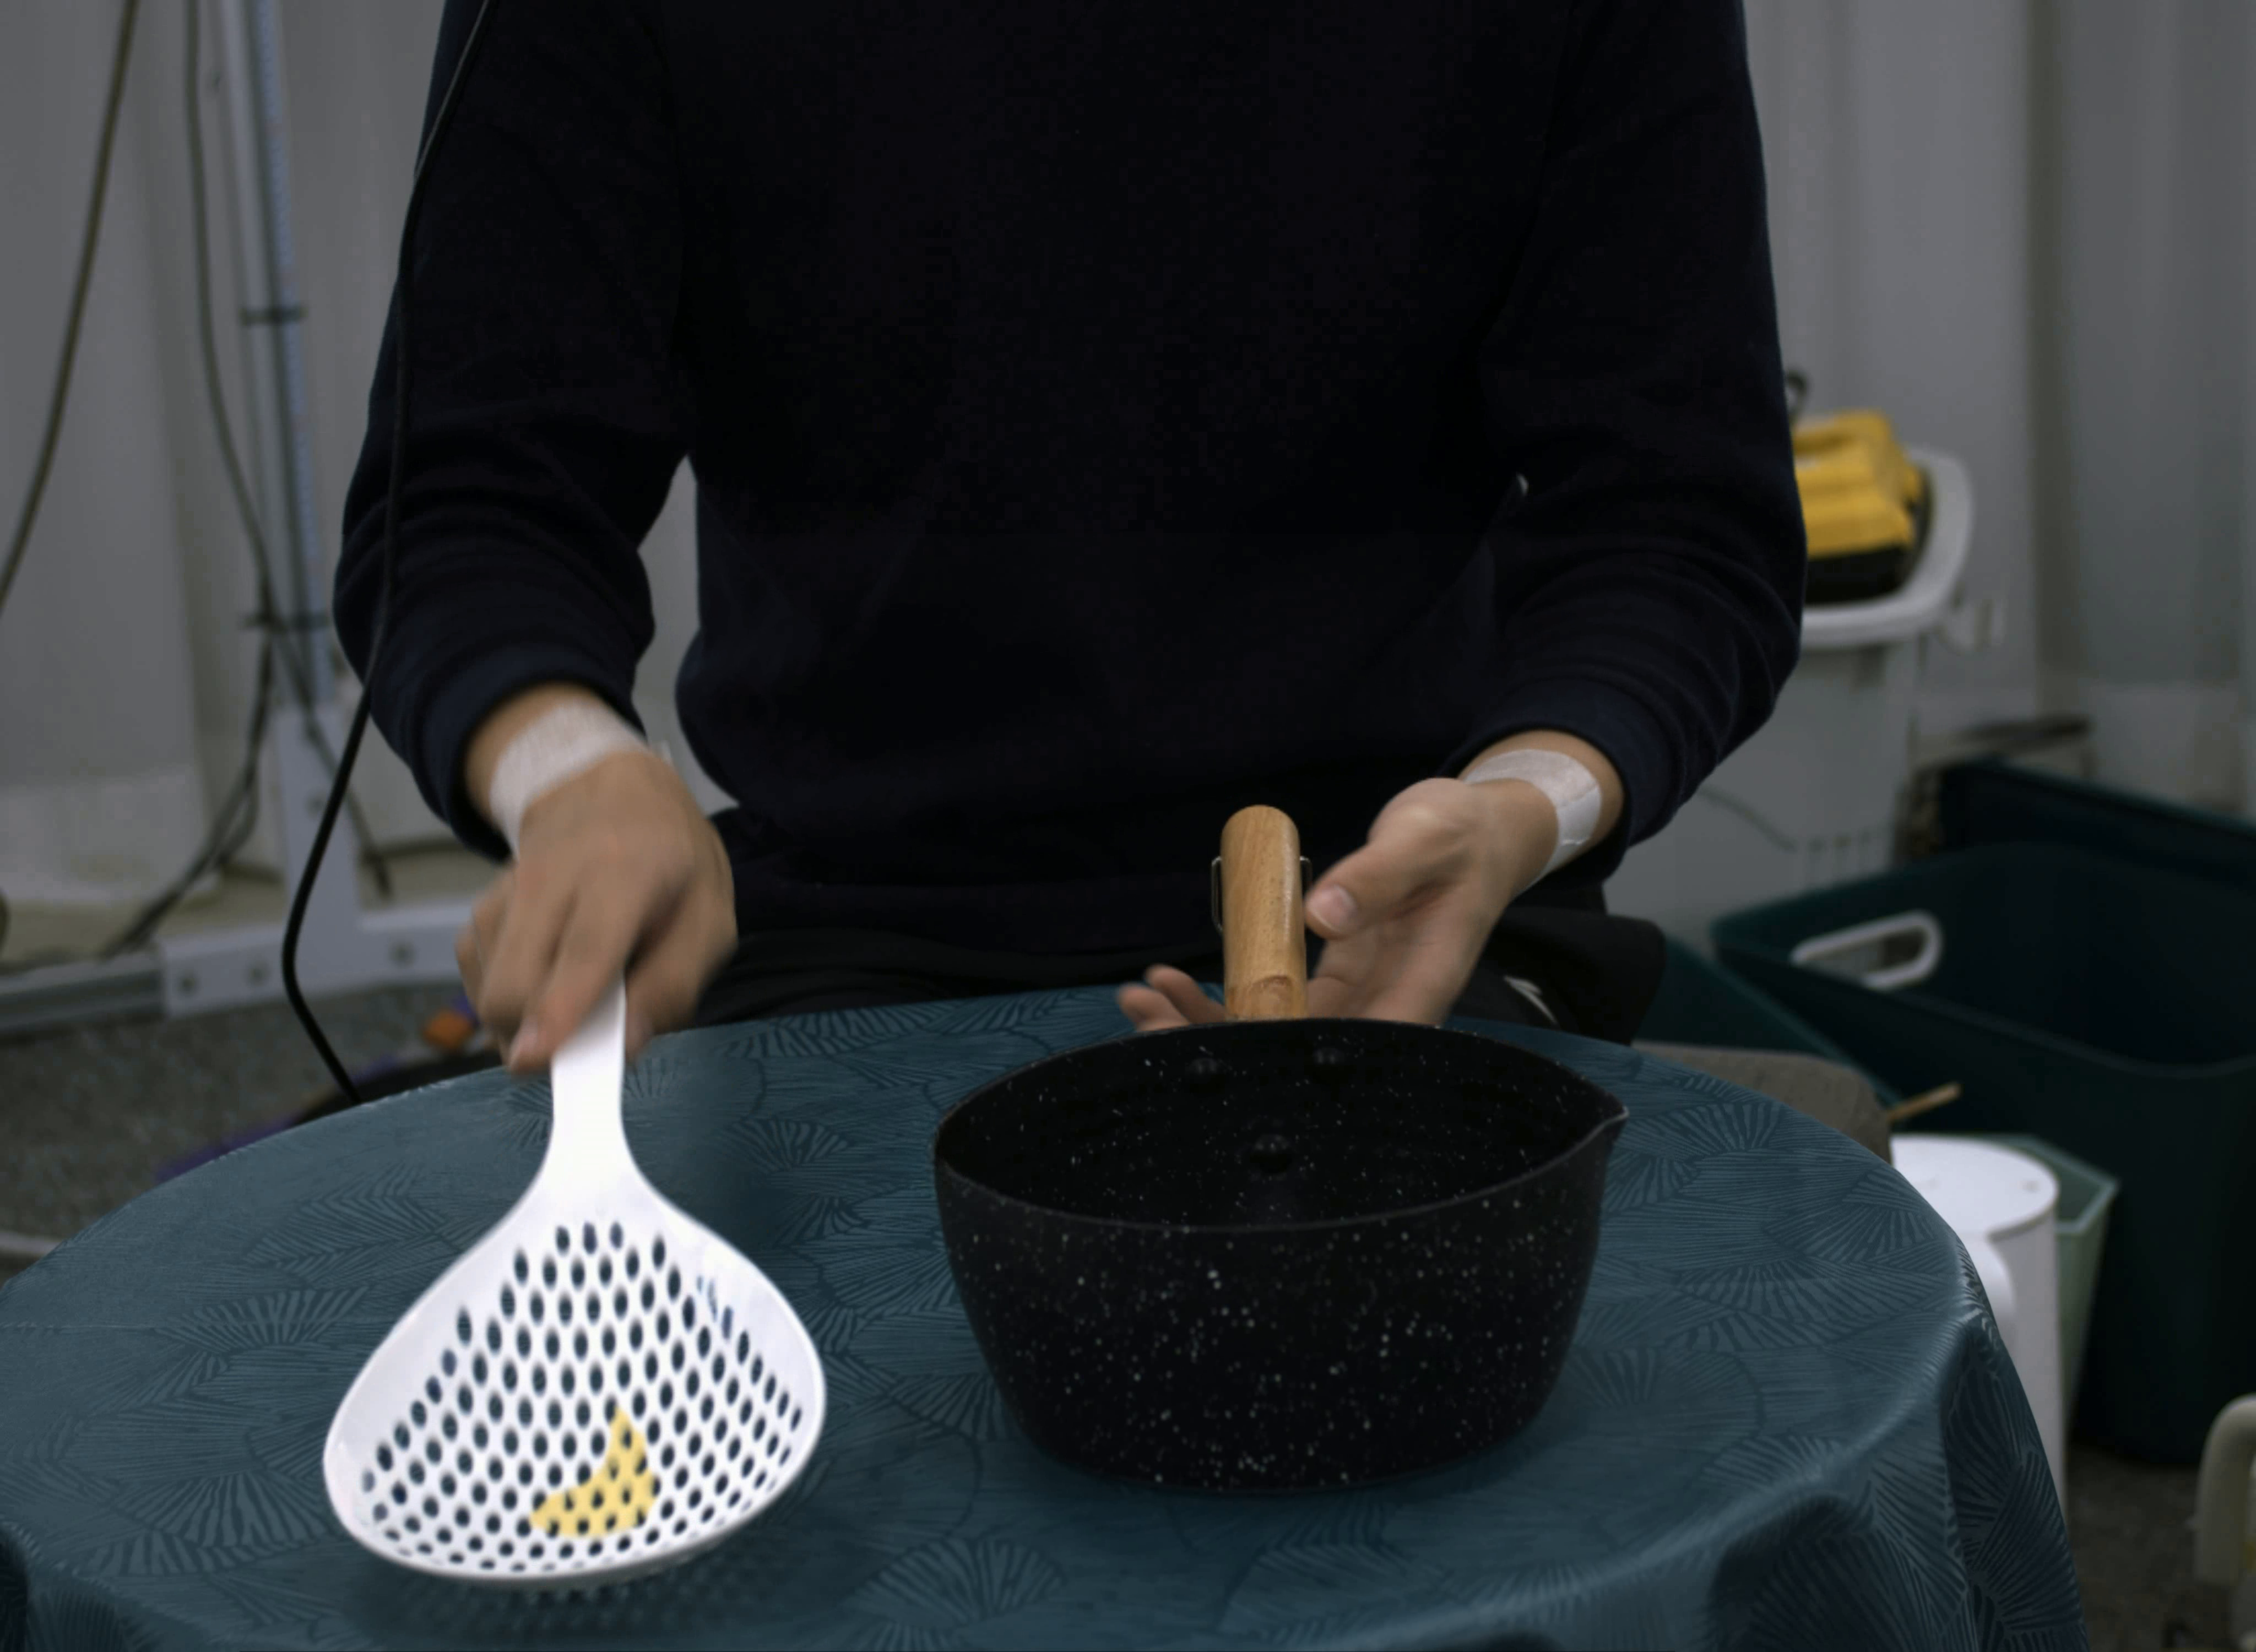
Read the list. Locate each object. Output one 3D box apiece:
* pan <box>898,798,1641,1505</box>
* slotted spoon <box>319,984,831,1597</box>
[{"bbox_3d":[0.040,0.089,1.597,0.207,0.108,0.345,-4,16,1],"label":"pan"},{"bbox_3d":[-0.154,0.118,1.545,0.136,0.050,0.352,-10,31,-1],"label":"slotted spoon"}]
